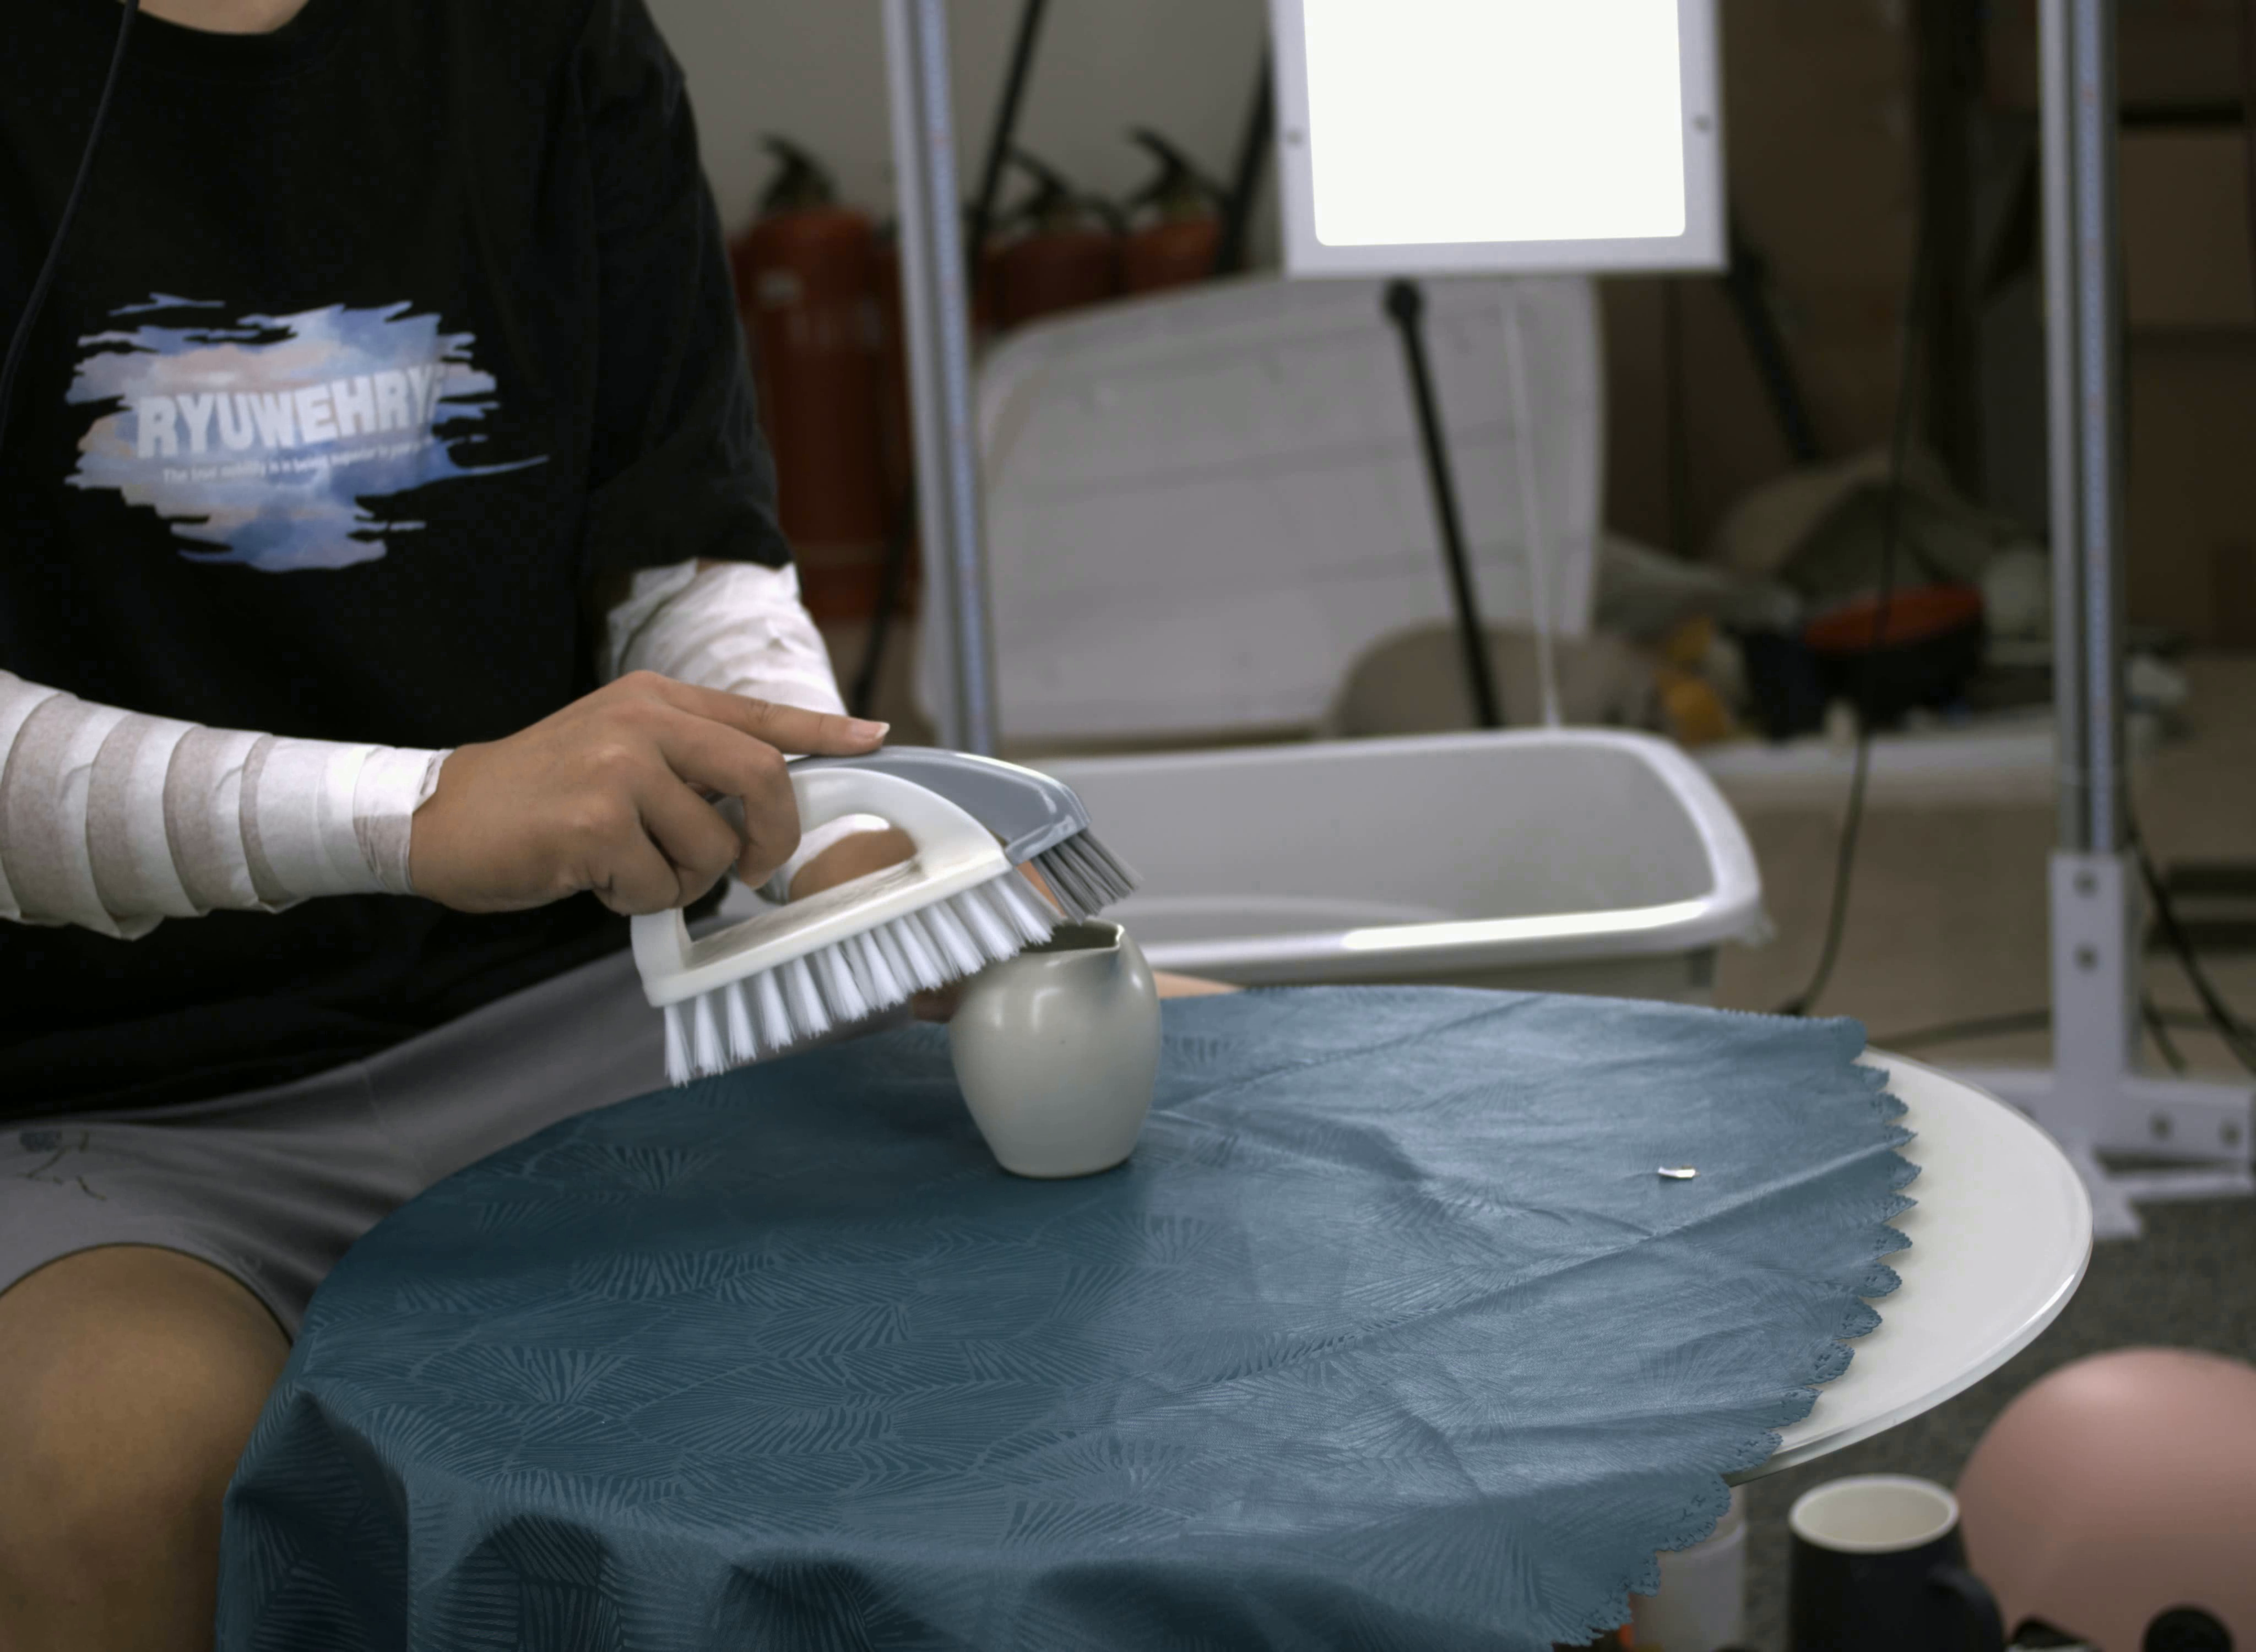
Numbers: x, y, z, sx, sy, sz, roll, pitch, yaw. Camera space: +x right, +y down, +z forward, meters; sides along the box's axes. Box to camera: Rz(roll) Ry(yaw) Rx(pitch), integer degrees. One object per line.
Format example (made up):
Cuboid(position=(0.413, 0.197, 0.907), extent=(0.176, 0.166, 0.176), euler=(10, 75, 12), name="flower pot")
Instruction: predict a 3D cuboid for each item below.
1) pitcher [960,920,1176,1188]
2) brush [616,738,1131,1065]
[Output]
Cuboid(position=(-0.024, 0.077, 1.930), extent=(0.074, 0.088, 0.121), euler=(-7, 15, -24), name="pitcher")
Cuboid(position=(-0.094, 0.013, 1.907), extent=(0.177, 0.094, 0.061), euler=(-18, 17, 13), name="brush")
